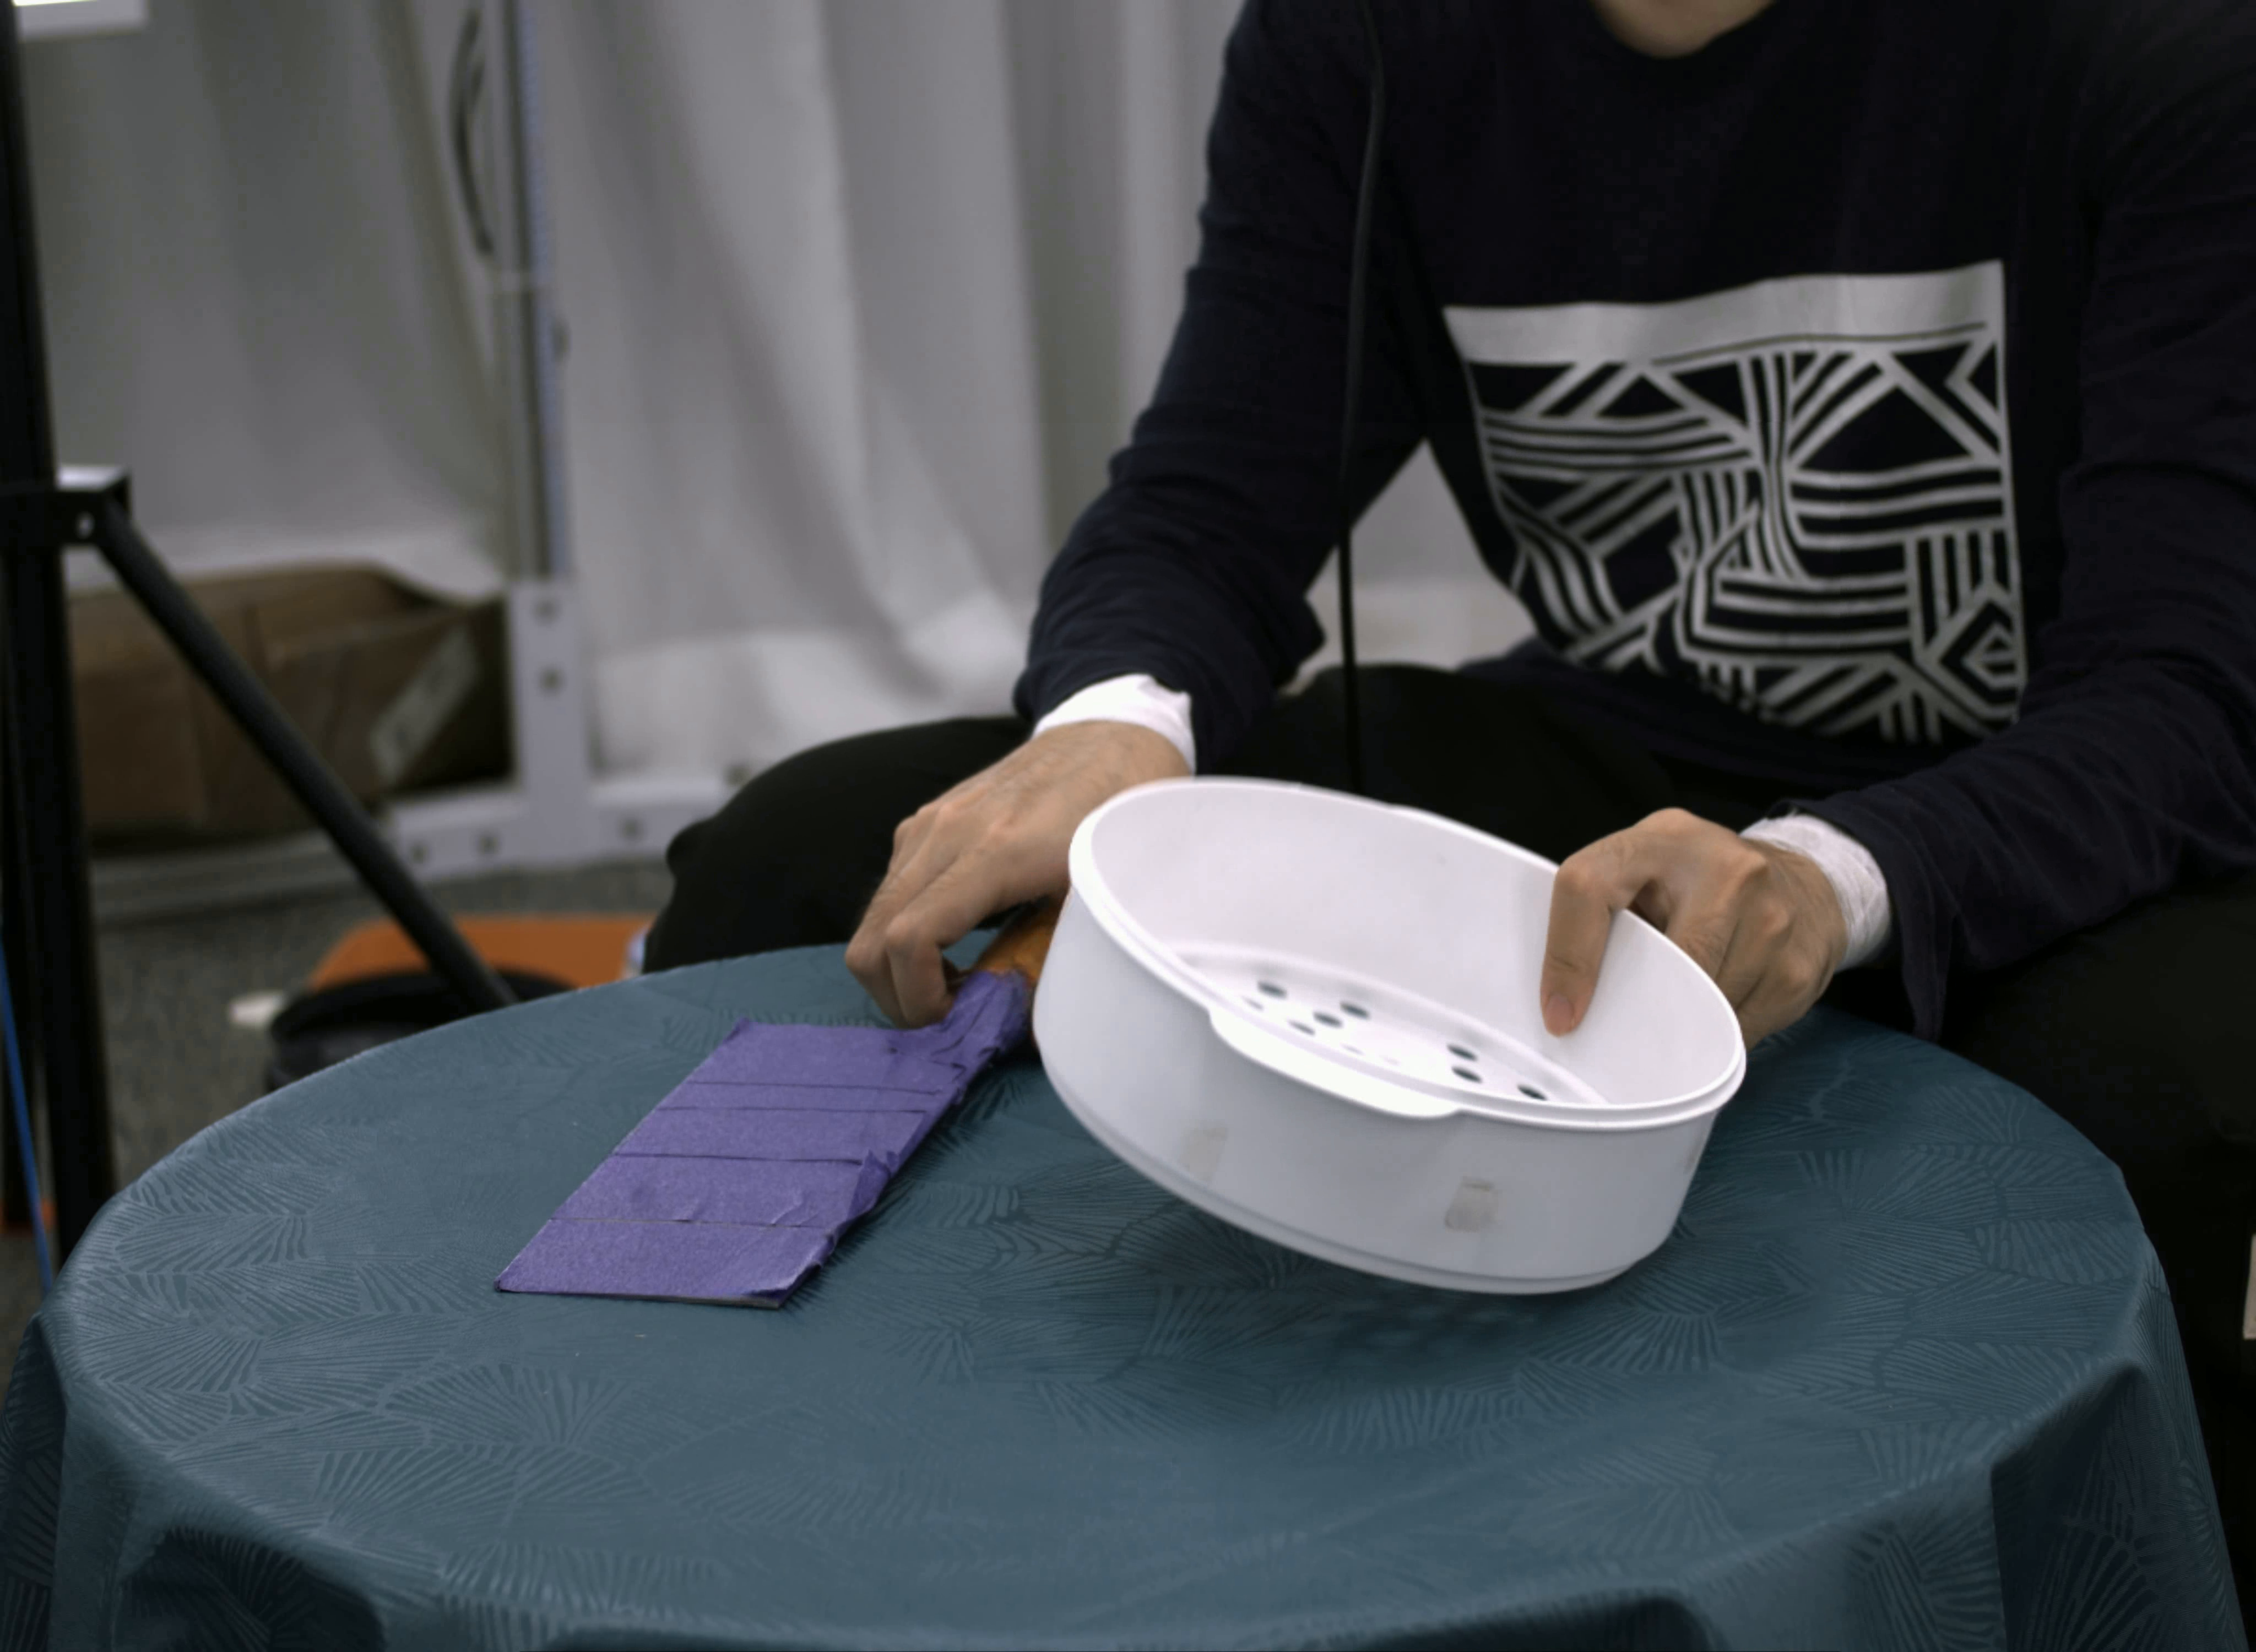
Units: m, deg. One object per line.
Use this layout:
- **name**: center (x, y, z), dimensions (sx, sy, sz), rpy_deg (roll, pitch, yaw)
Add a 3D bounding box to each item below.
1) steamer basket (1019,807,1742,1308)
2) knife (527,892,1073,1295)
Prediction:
- **steamer basket**: center (0.069, 0.066, 1.499), dimensions (0.203, 0.069, 0.228), rpy_deg (21, 18, 10)
- **knife**: center (-0.093, 0.078, 1.628), dimensions (0.105, 0.032, 0.312), rpy_deg (3, 17, 16)
